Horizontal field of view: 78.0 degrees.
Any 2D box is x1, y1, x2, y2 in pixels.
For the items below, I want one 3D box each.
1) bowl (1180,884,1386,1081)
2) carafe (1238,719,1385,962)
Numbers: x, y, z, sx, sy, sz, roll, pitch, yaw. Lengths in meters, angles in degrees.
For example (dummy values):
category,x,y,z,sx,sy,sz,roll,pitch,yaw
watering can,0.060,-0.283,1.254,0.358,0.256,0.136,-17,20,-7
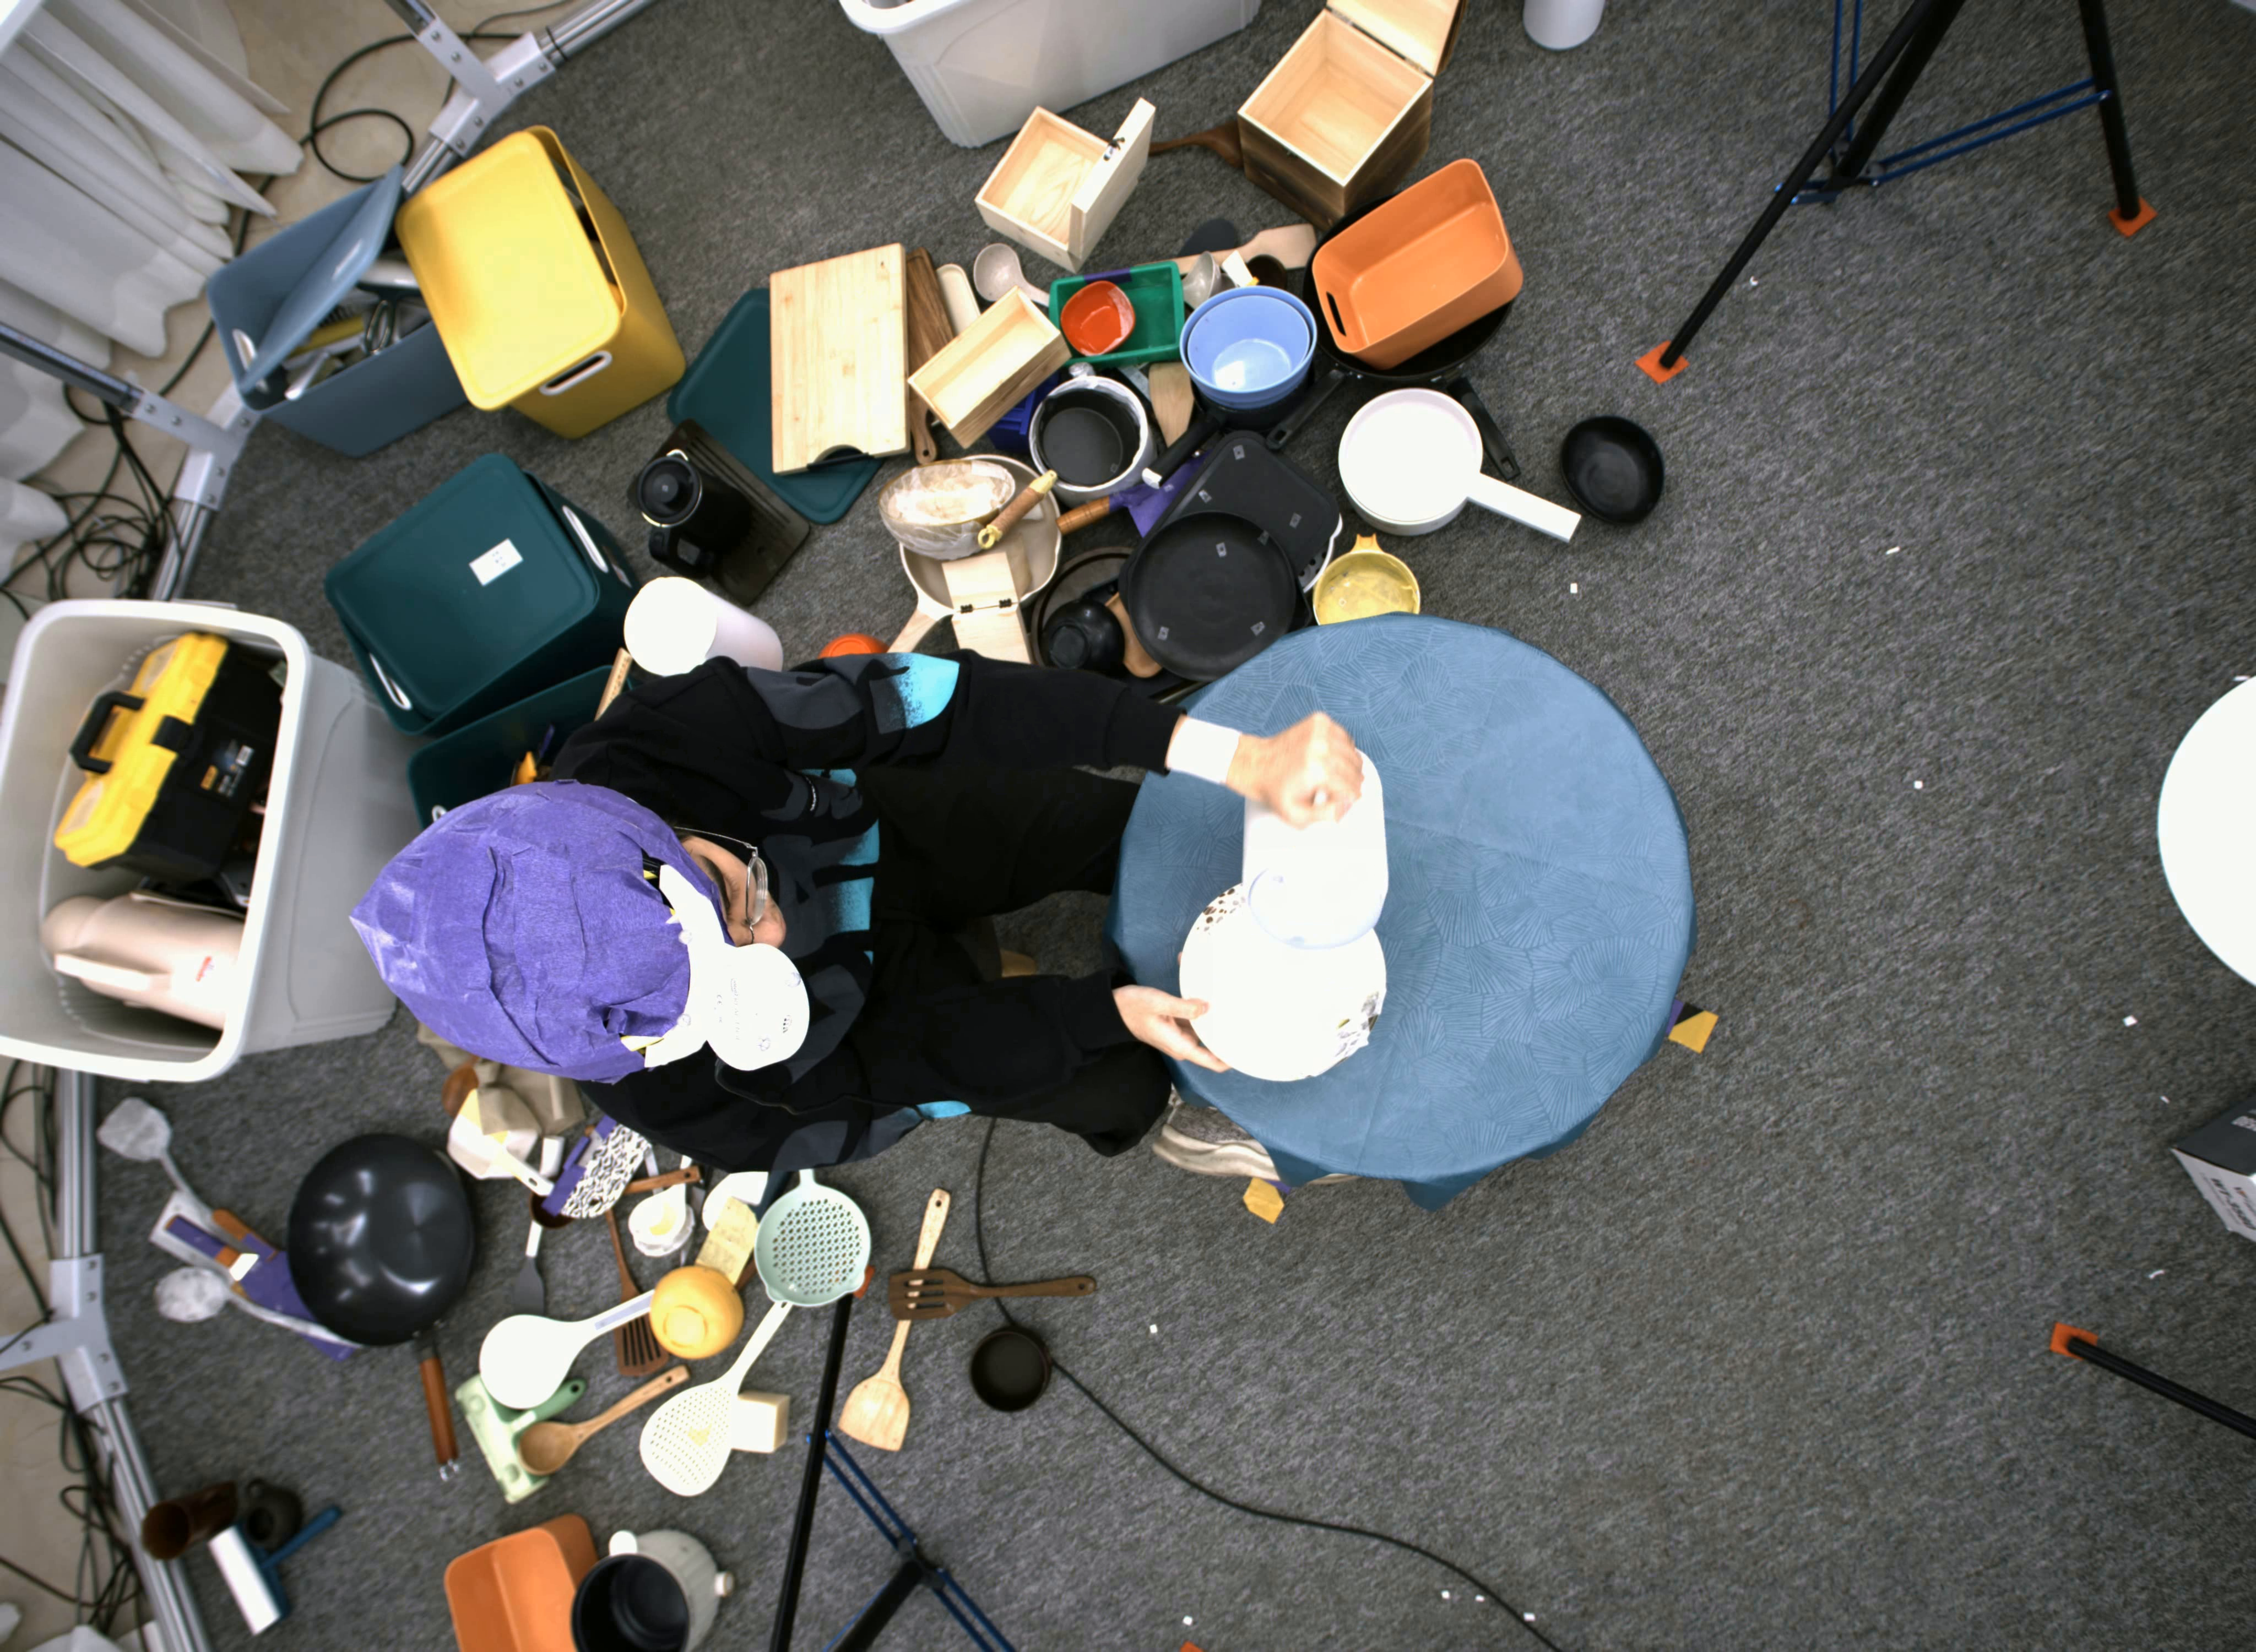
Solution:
category,x,y,z,sx,sy,sz,roll,pitch,yaw
bowl,0.159,0.155,1.403,0.205,0.078,0.202,-2,82,11
carafe,0.167,0.000,1.255,0.132,0.177,0.196,1,132,5
